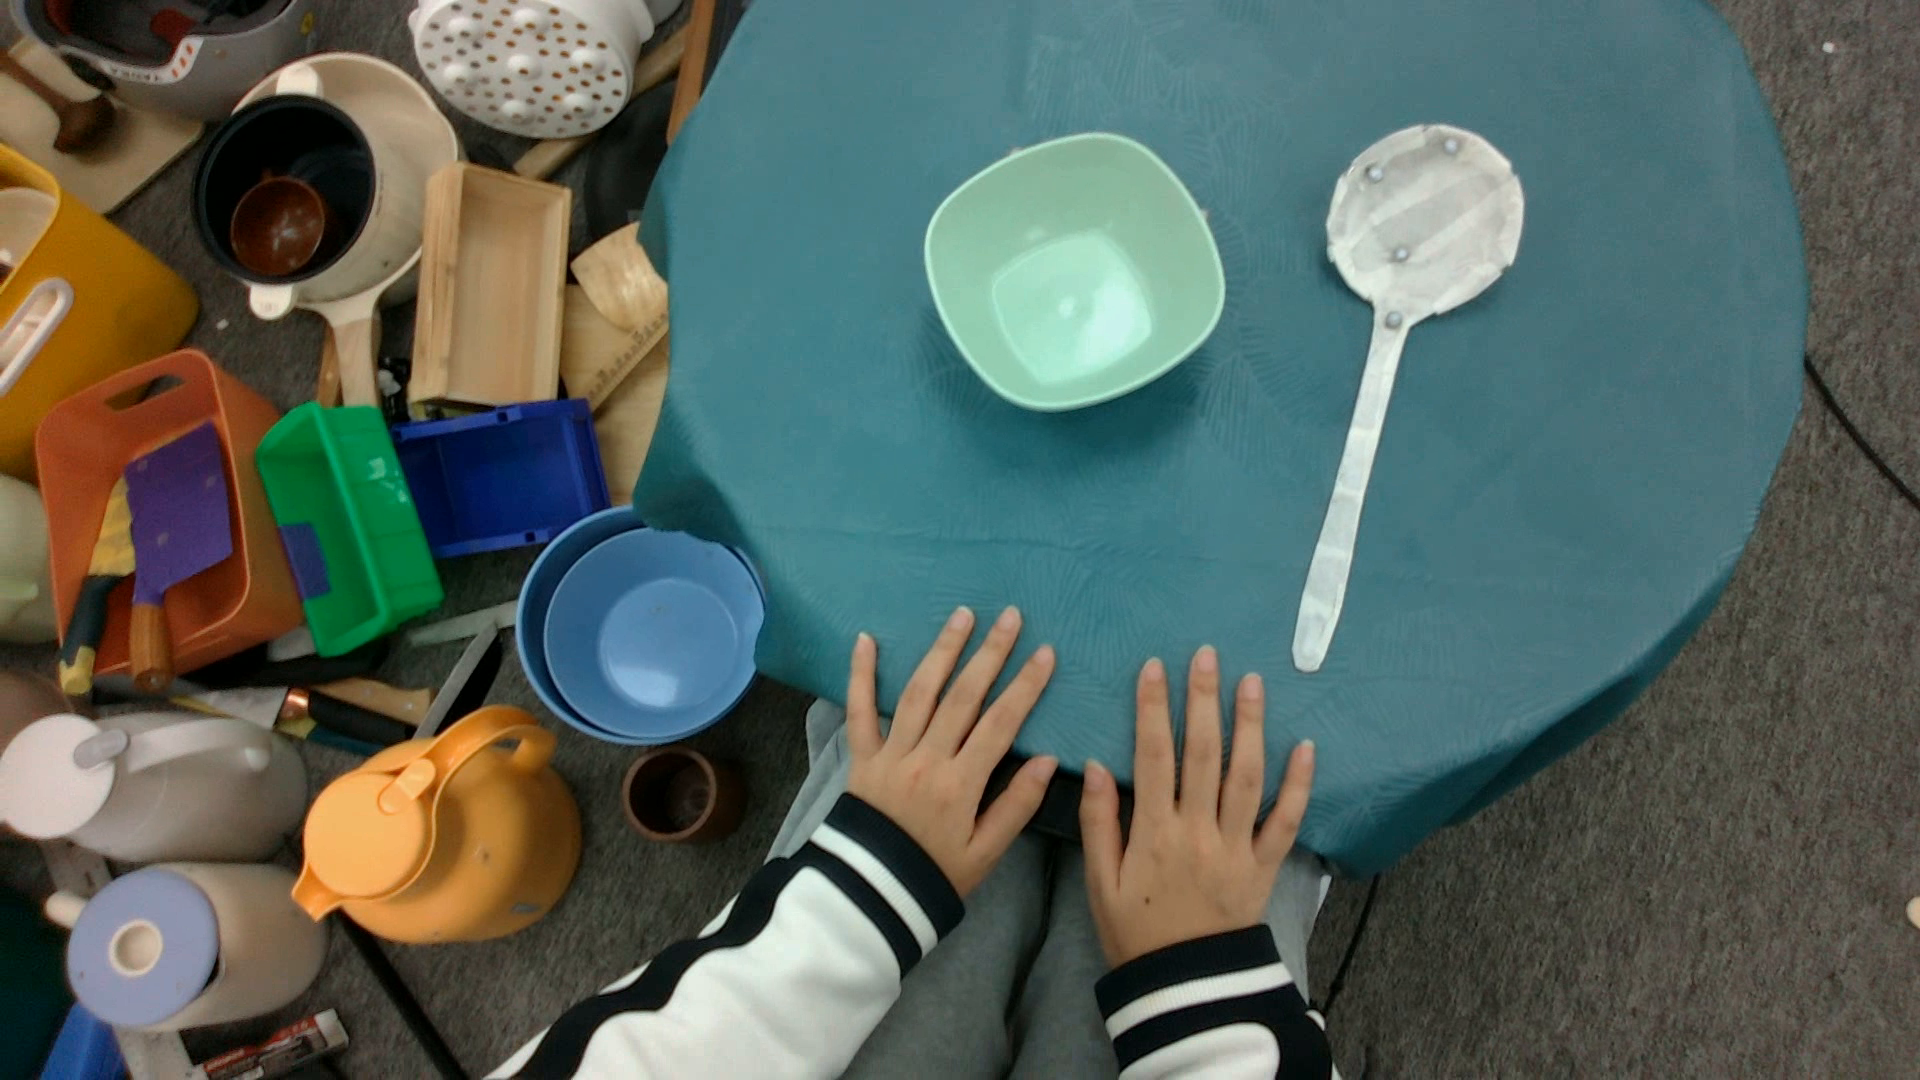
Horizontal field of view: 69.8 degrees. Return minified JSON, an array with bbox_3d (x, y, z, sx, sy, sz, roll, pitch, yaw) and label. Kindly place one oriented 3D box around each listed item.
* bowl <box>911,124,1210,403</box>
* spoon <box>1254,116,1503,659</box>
[{"bbox_3d":[0.050,-0.132,0.704,0.151,0.058,0.152,-1,76,3],"label":"bowl"},{"bbox_3d":[0.189,-0.077,0.680,0.100,0.059,0.278,18,77,12],"label":"spoon"}]
